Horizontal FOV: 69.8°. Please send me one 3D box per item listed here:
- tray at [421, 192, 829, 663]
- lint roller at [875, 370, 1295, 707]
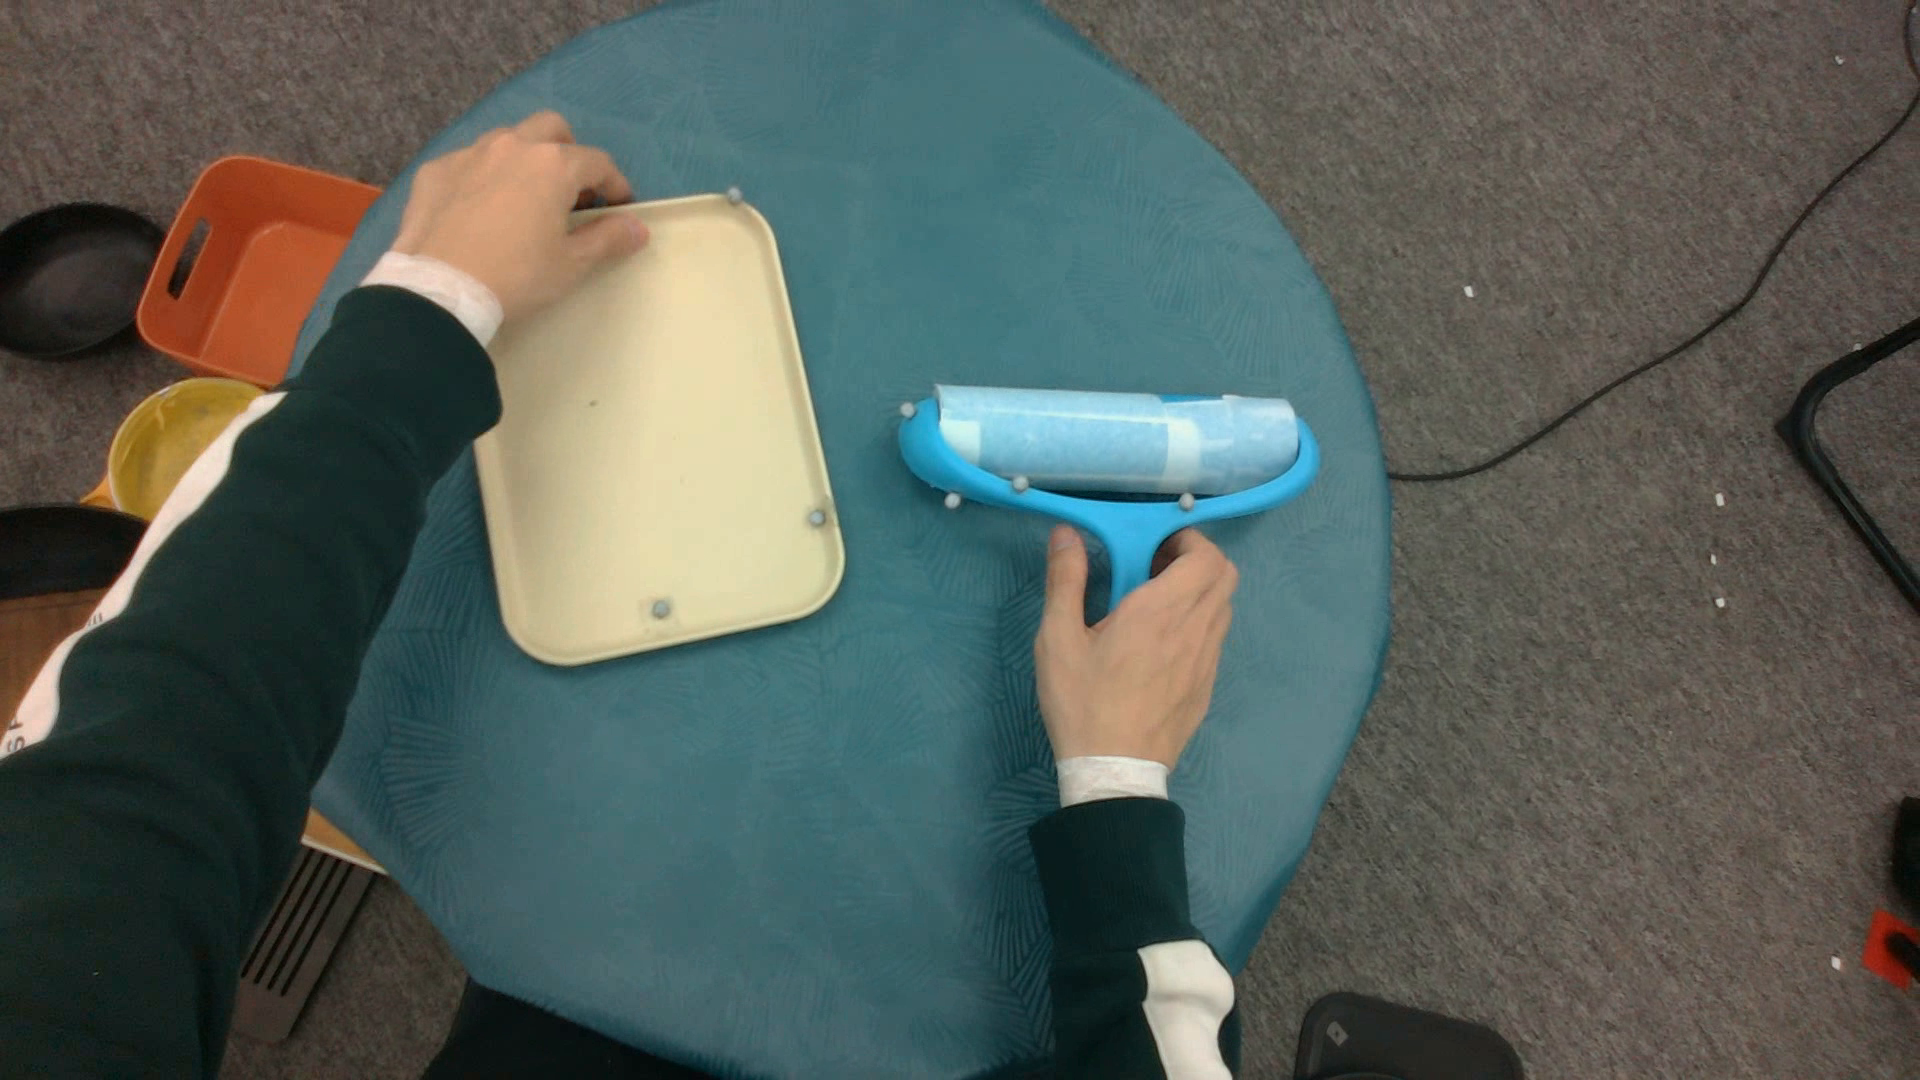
[{"bbox_3d":[-0.174,-0.063,0.715,0.171,0.017,0.240,-13,77,-13],"label":"tray"},{"bbox_3d":[0.075,-0.007,0.721,0.229,0.067,0.180,-3,72,-12],"label":"lint roller"}]
